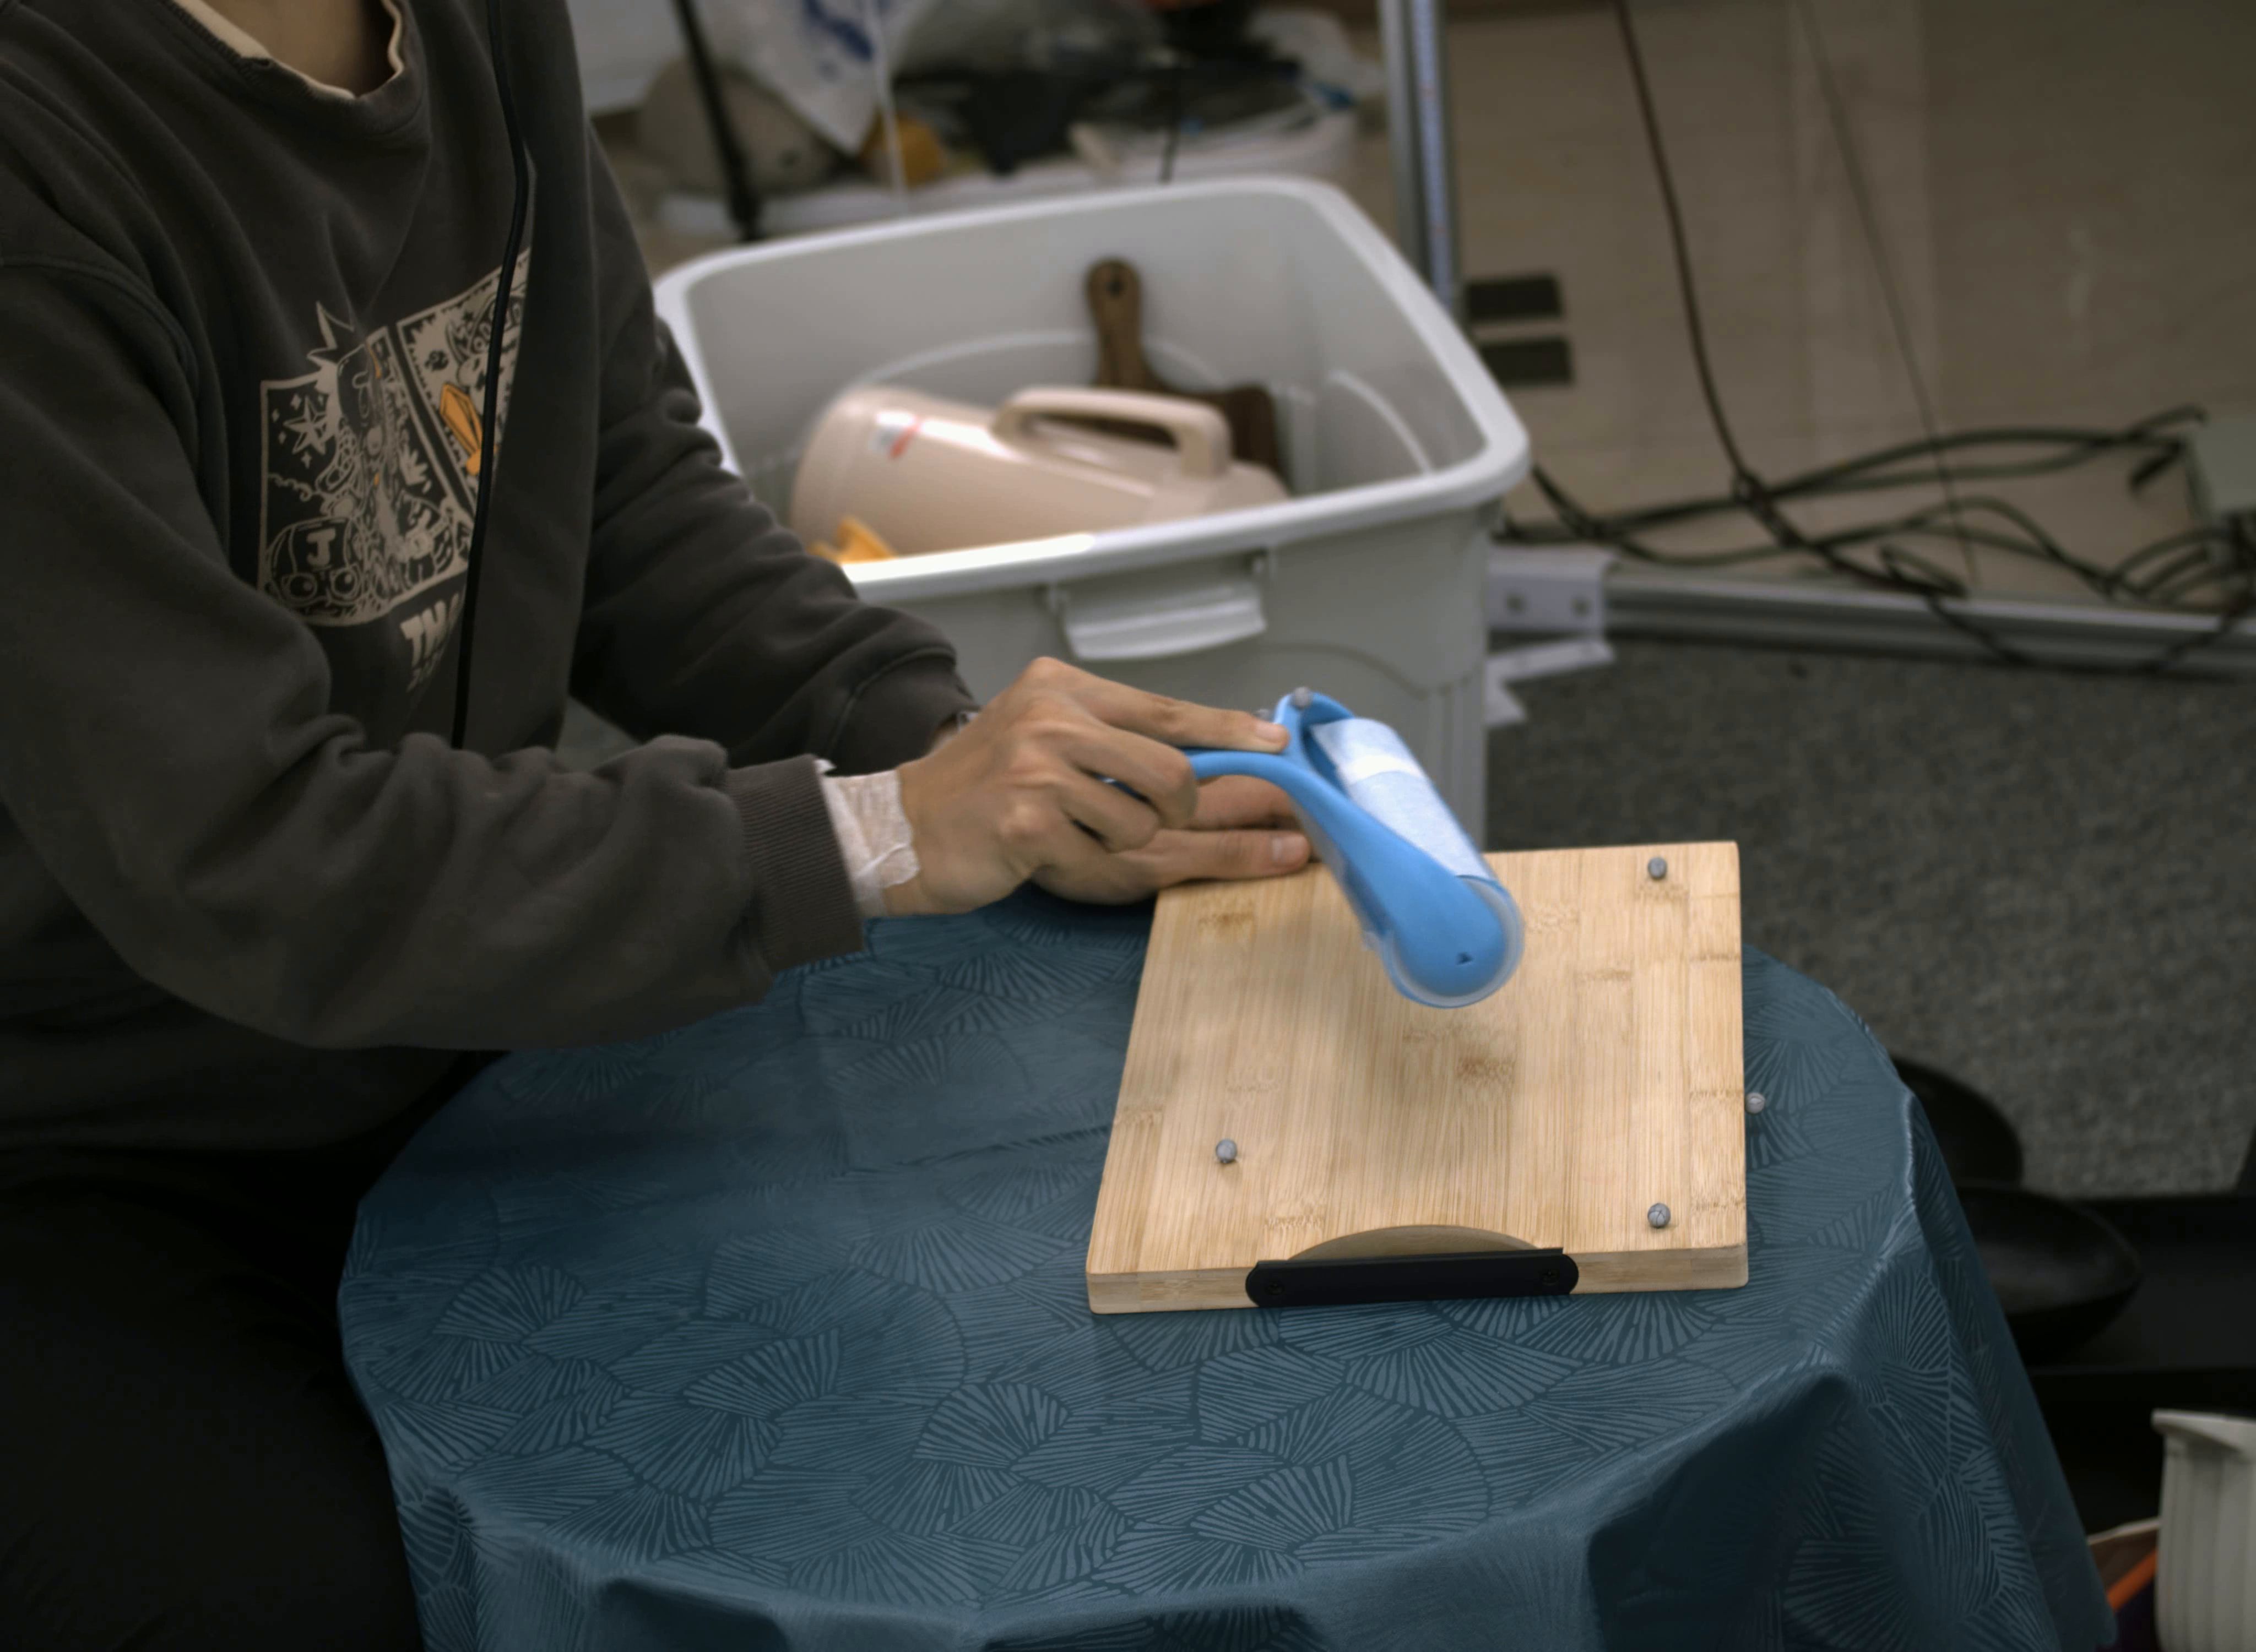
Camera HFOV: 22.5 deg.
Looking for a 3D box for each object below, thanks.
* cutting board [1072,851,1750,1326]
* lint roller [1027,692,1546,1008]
[{"bbox_3d":[0.117,0.095,2.192,0.250,0.024,0.343,-4,25,7],"label":"cutting board"},{"bbox_3d":[0.055,0.000,2.168,0.180,0.069,0.226,11,18,-17],"label":"lint roller"}]
